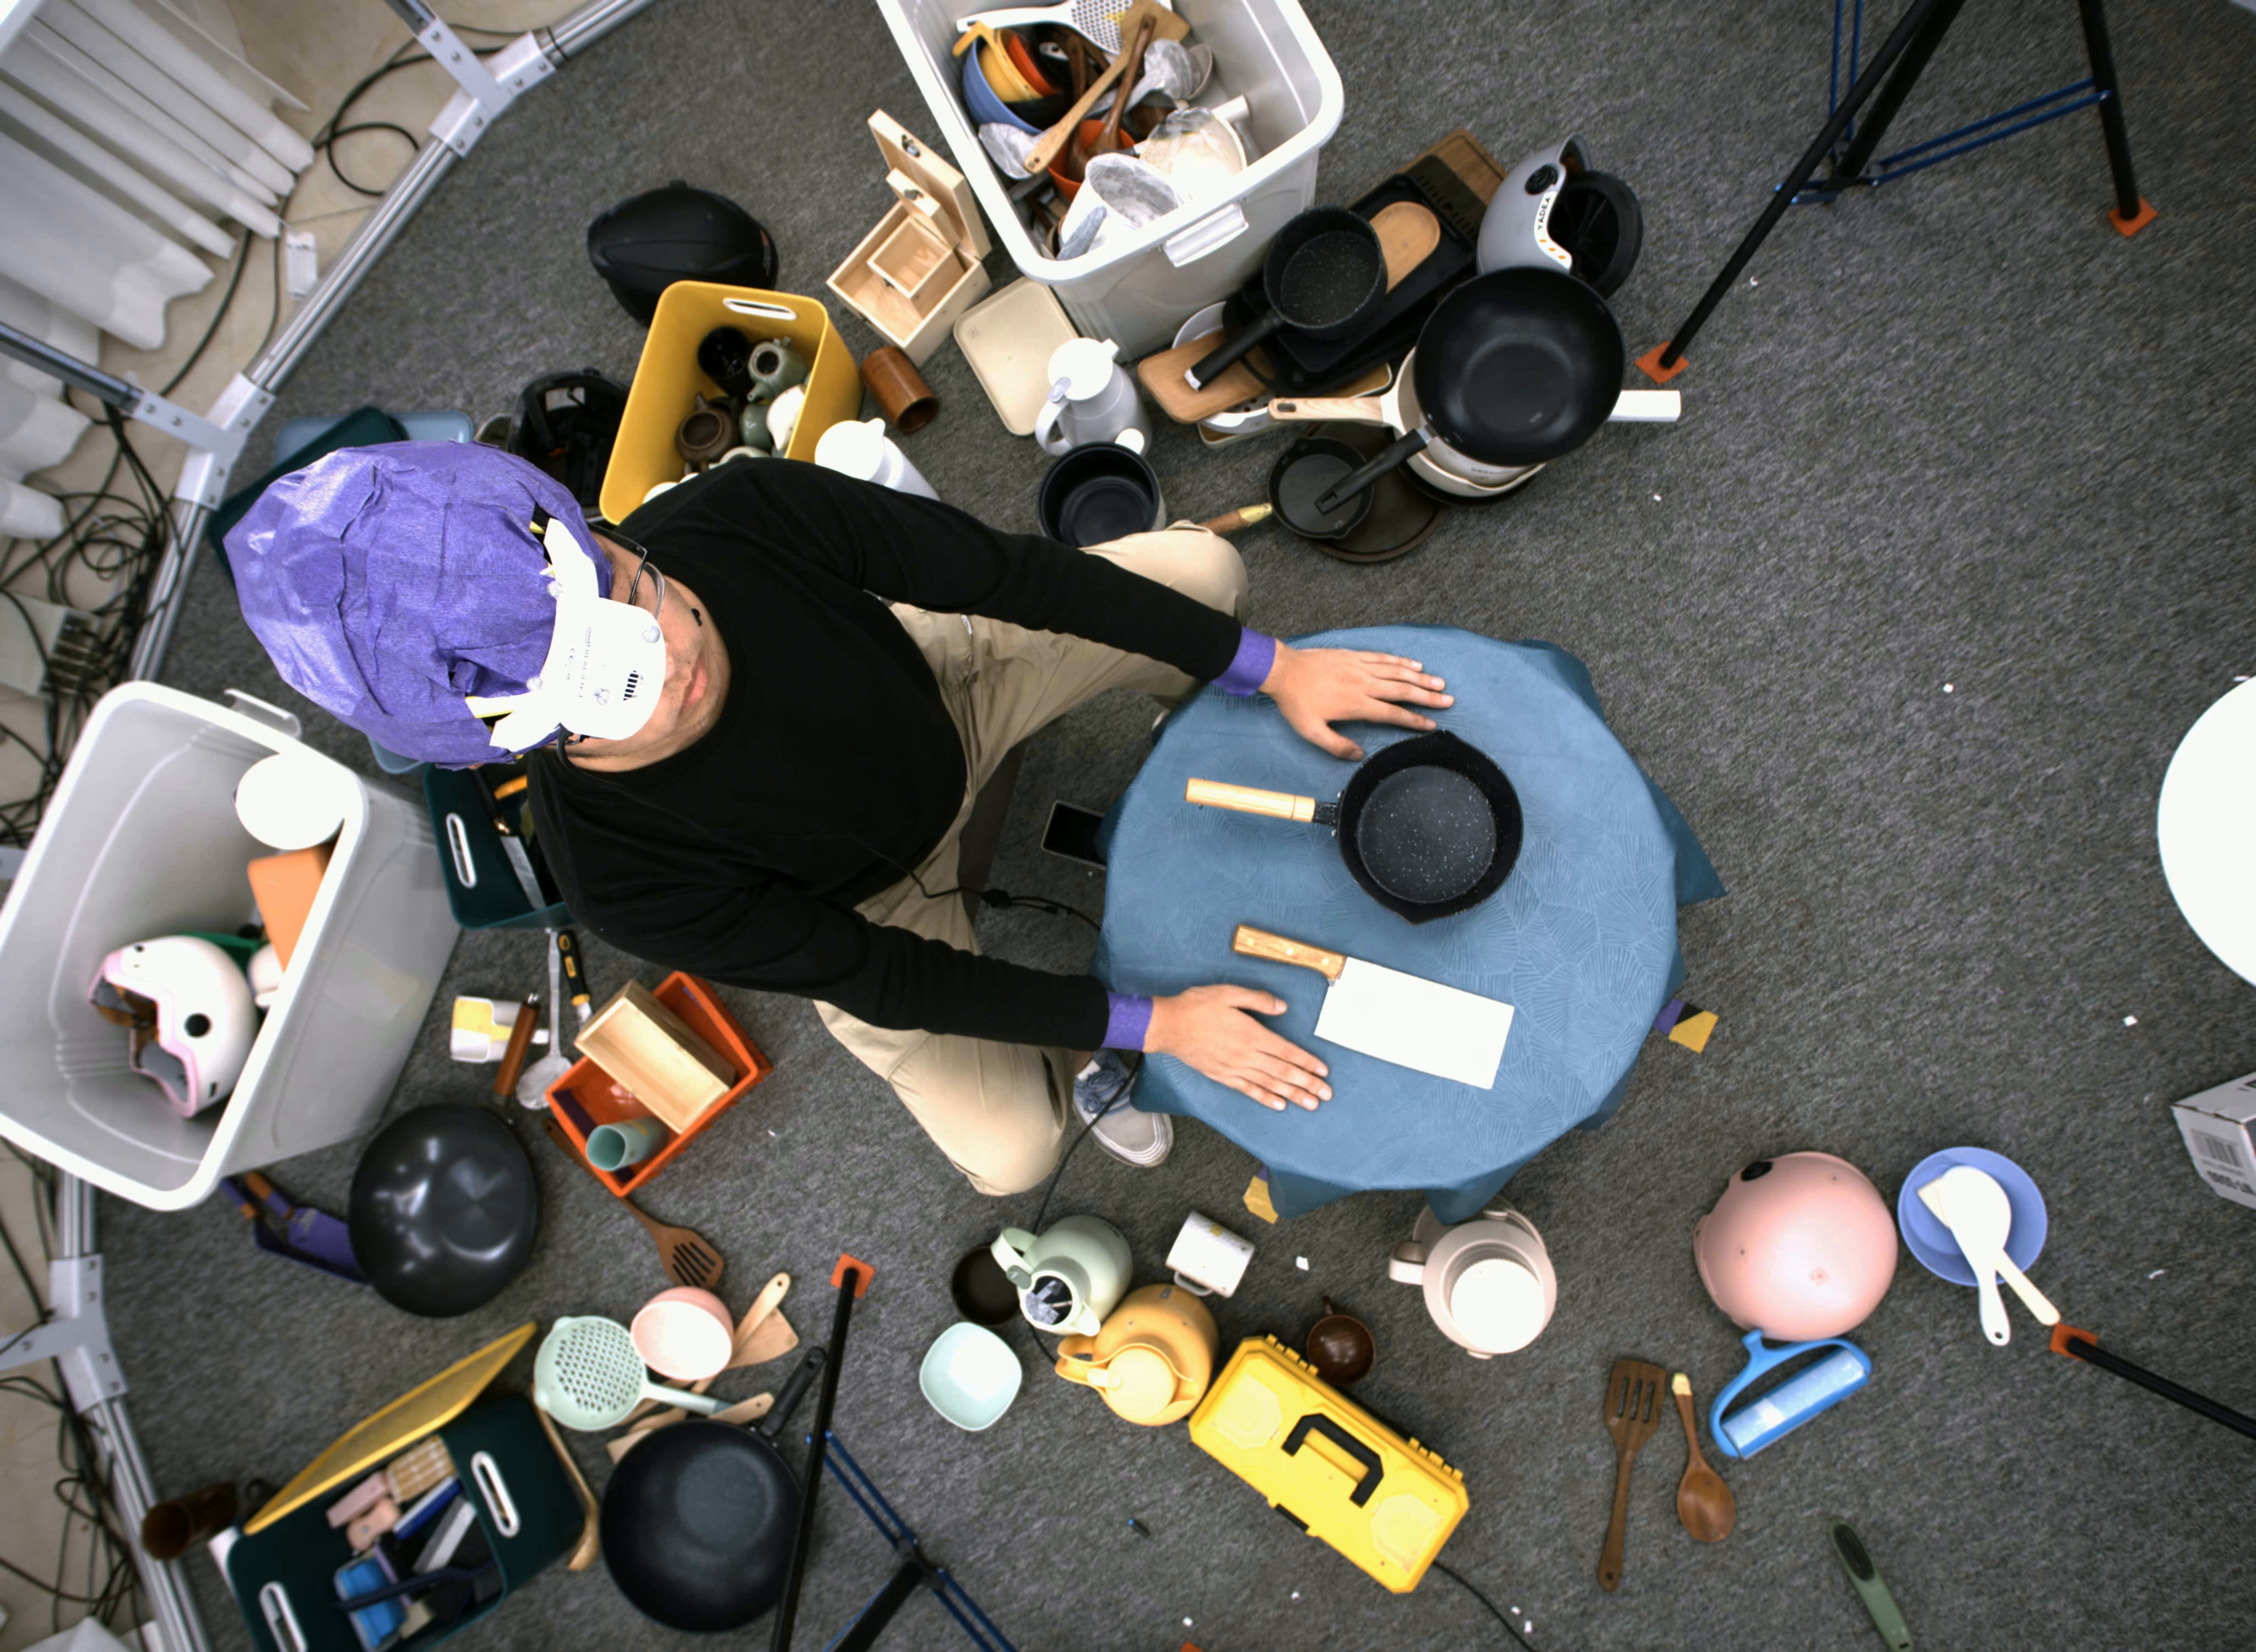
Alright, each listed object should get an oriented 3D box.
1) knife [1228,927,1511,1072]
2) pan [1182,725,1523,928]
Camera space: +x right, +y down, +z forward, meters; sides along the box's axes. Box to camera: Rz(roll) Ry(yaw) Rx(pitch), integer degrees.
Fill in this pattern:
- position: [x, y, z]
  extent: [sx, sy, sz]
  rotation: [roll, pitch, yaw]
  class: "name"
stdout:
- position: [0.245, 0.184, 1.453]
  extent: [0.306, 0.021, 0.093]
  rotation: [16, 91, 9]
  class: "knife"
- position: [0.228, -0.008, 1.419]
  extent: [0.343, 0.108, 0.207]
  rotation: [7, 88, 10]
  class: "pan"
